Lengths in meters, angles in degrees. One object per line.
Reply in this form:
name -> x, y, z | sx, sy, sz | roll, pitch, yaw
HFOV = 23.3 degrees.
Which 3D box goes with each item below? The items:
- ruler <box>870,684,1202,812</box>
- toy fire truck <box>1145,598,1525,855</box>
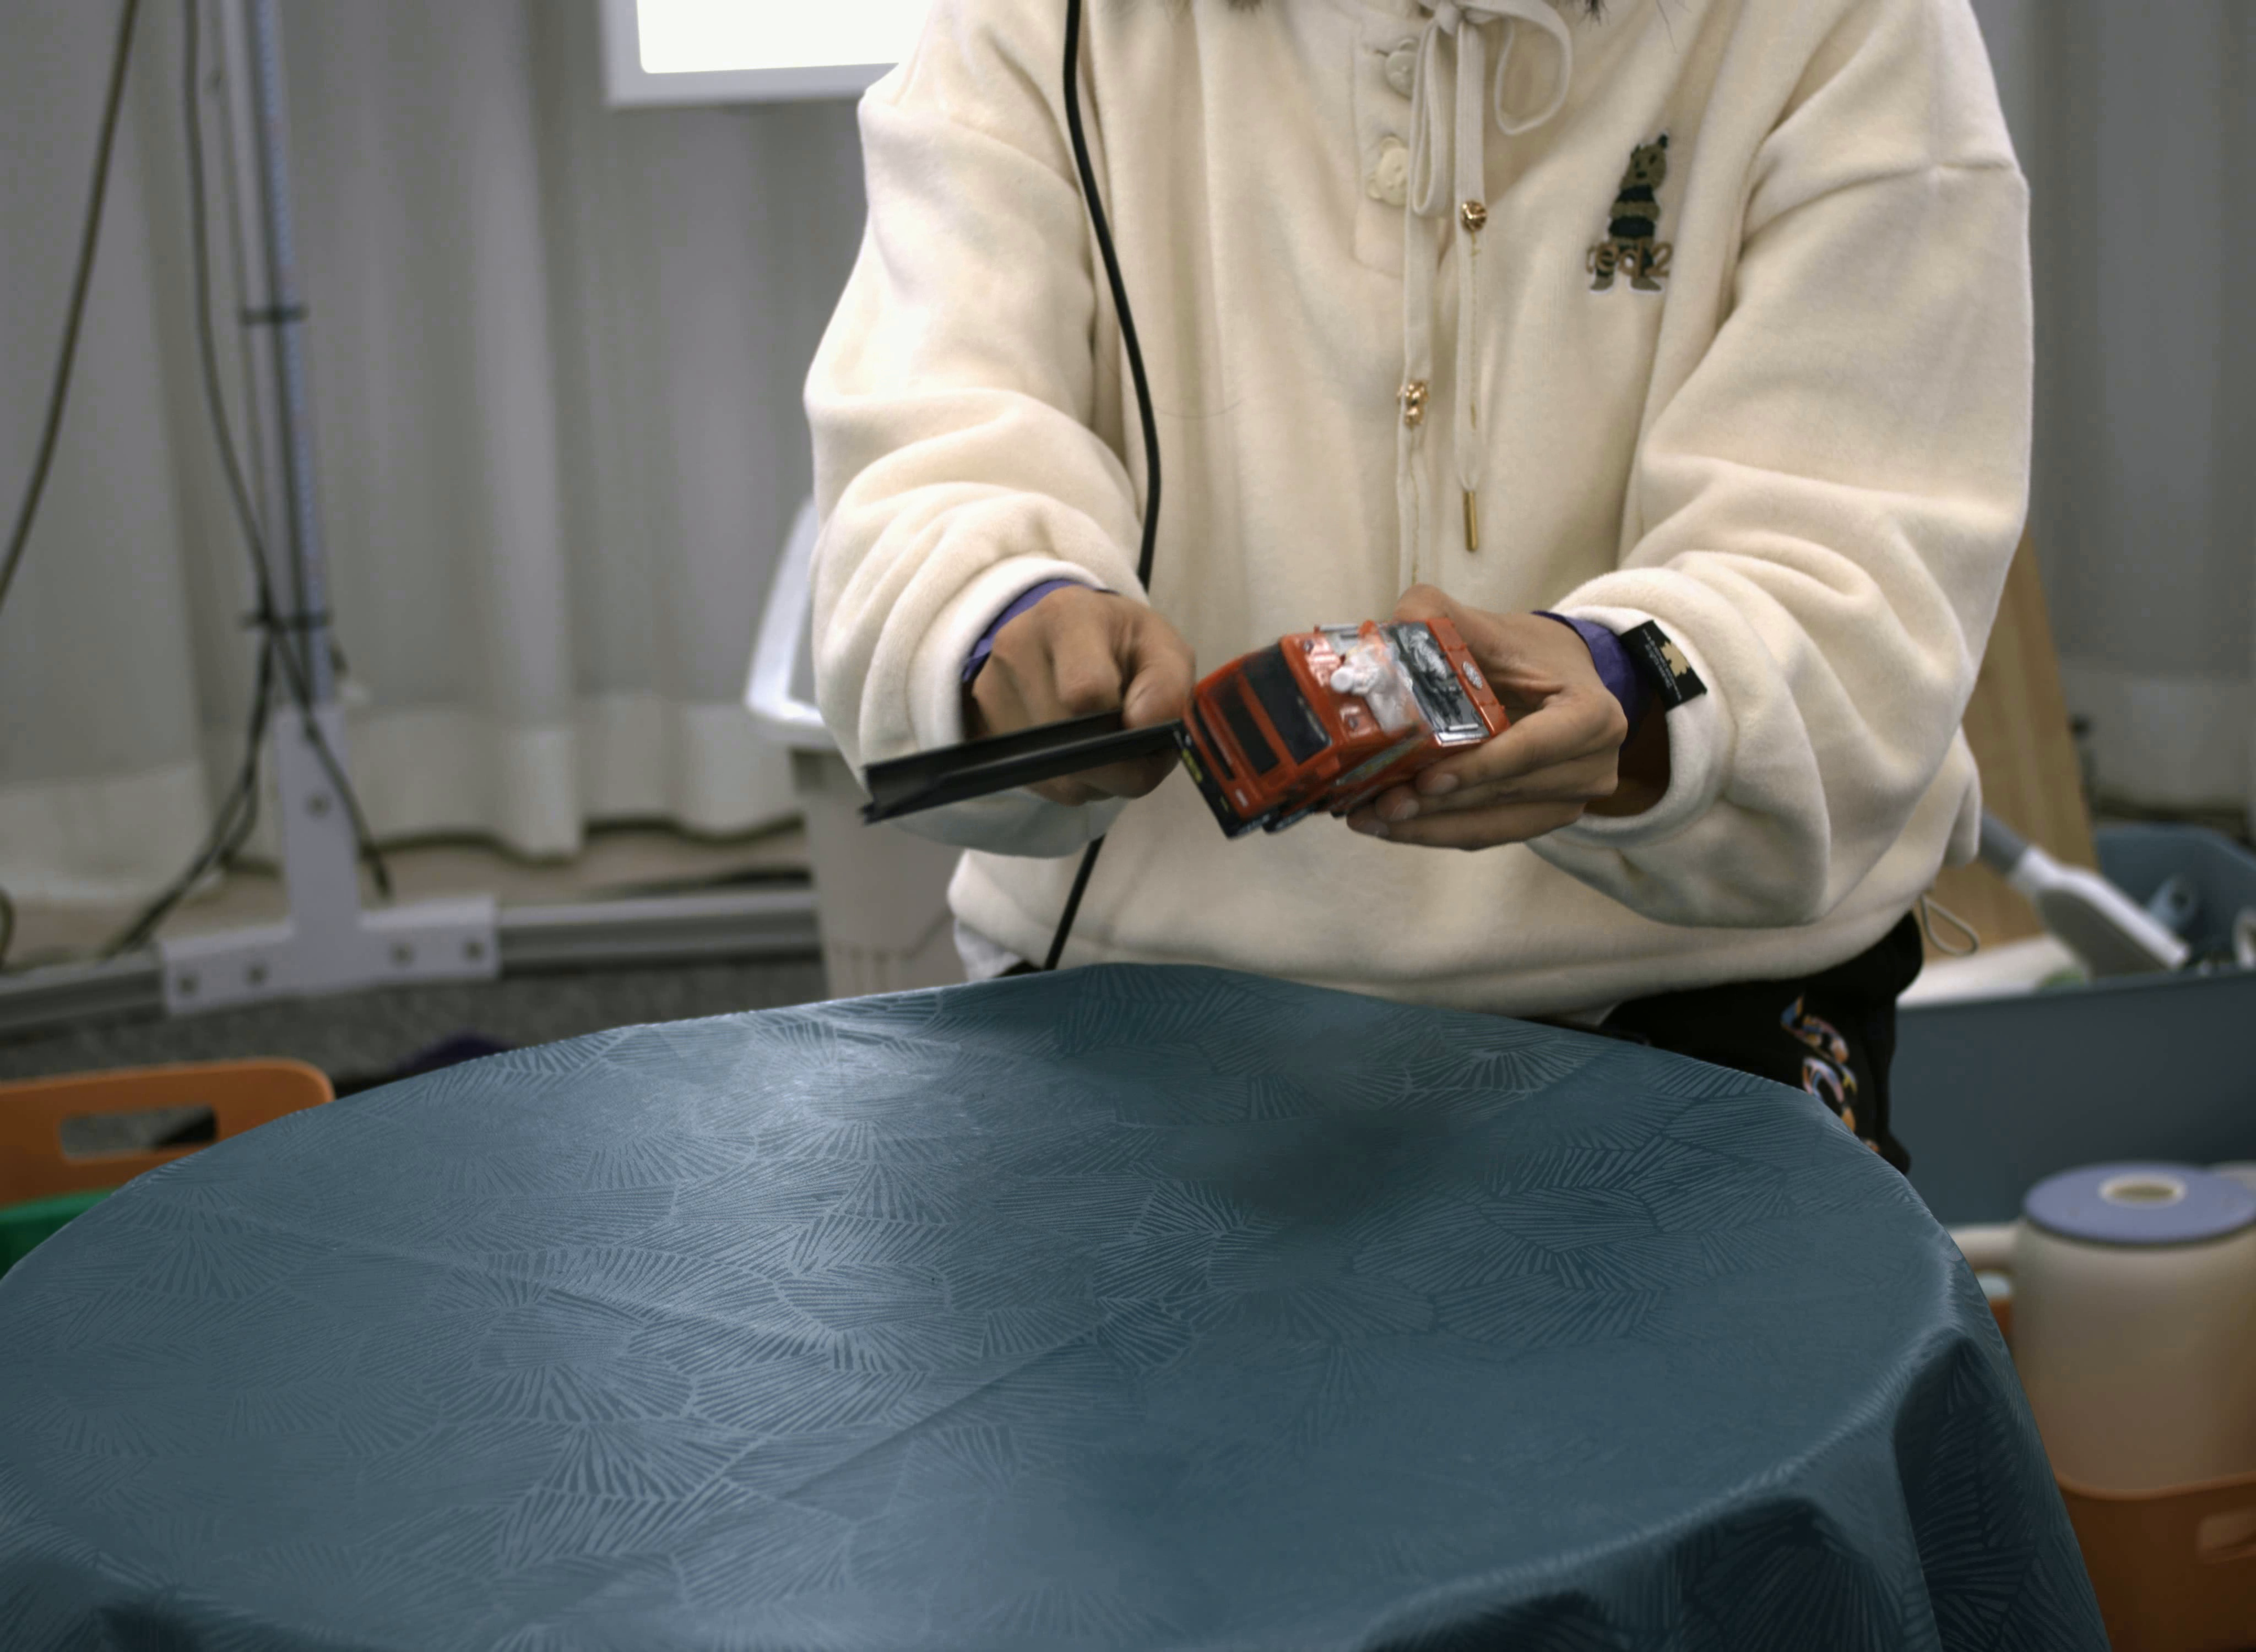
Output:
ruler -> -0.006, -0.031, 1.648 | 0.039, 0.017, 0.312 | -23, -3, 20
toy fire truck -> 0.066, -0.032, 1.670 | 0.070, 0.054, 0.167 | -33, -11, 19
